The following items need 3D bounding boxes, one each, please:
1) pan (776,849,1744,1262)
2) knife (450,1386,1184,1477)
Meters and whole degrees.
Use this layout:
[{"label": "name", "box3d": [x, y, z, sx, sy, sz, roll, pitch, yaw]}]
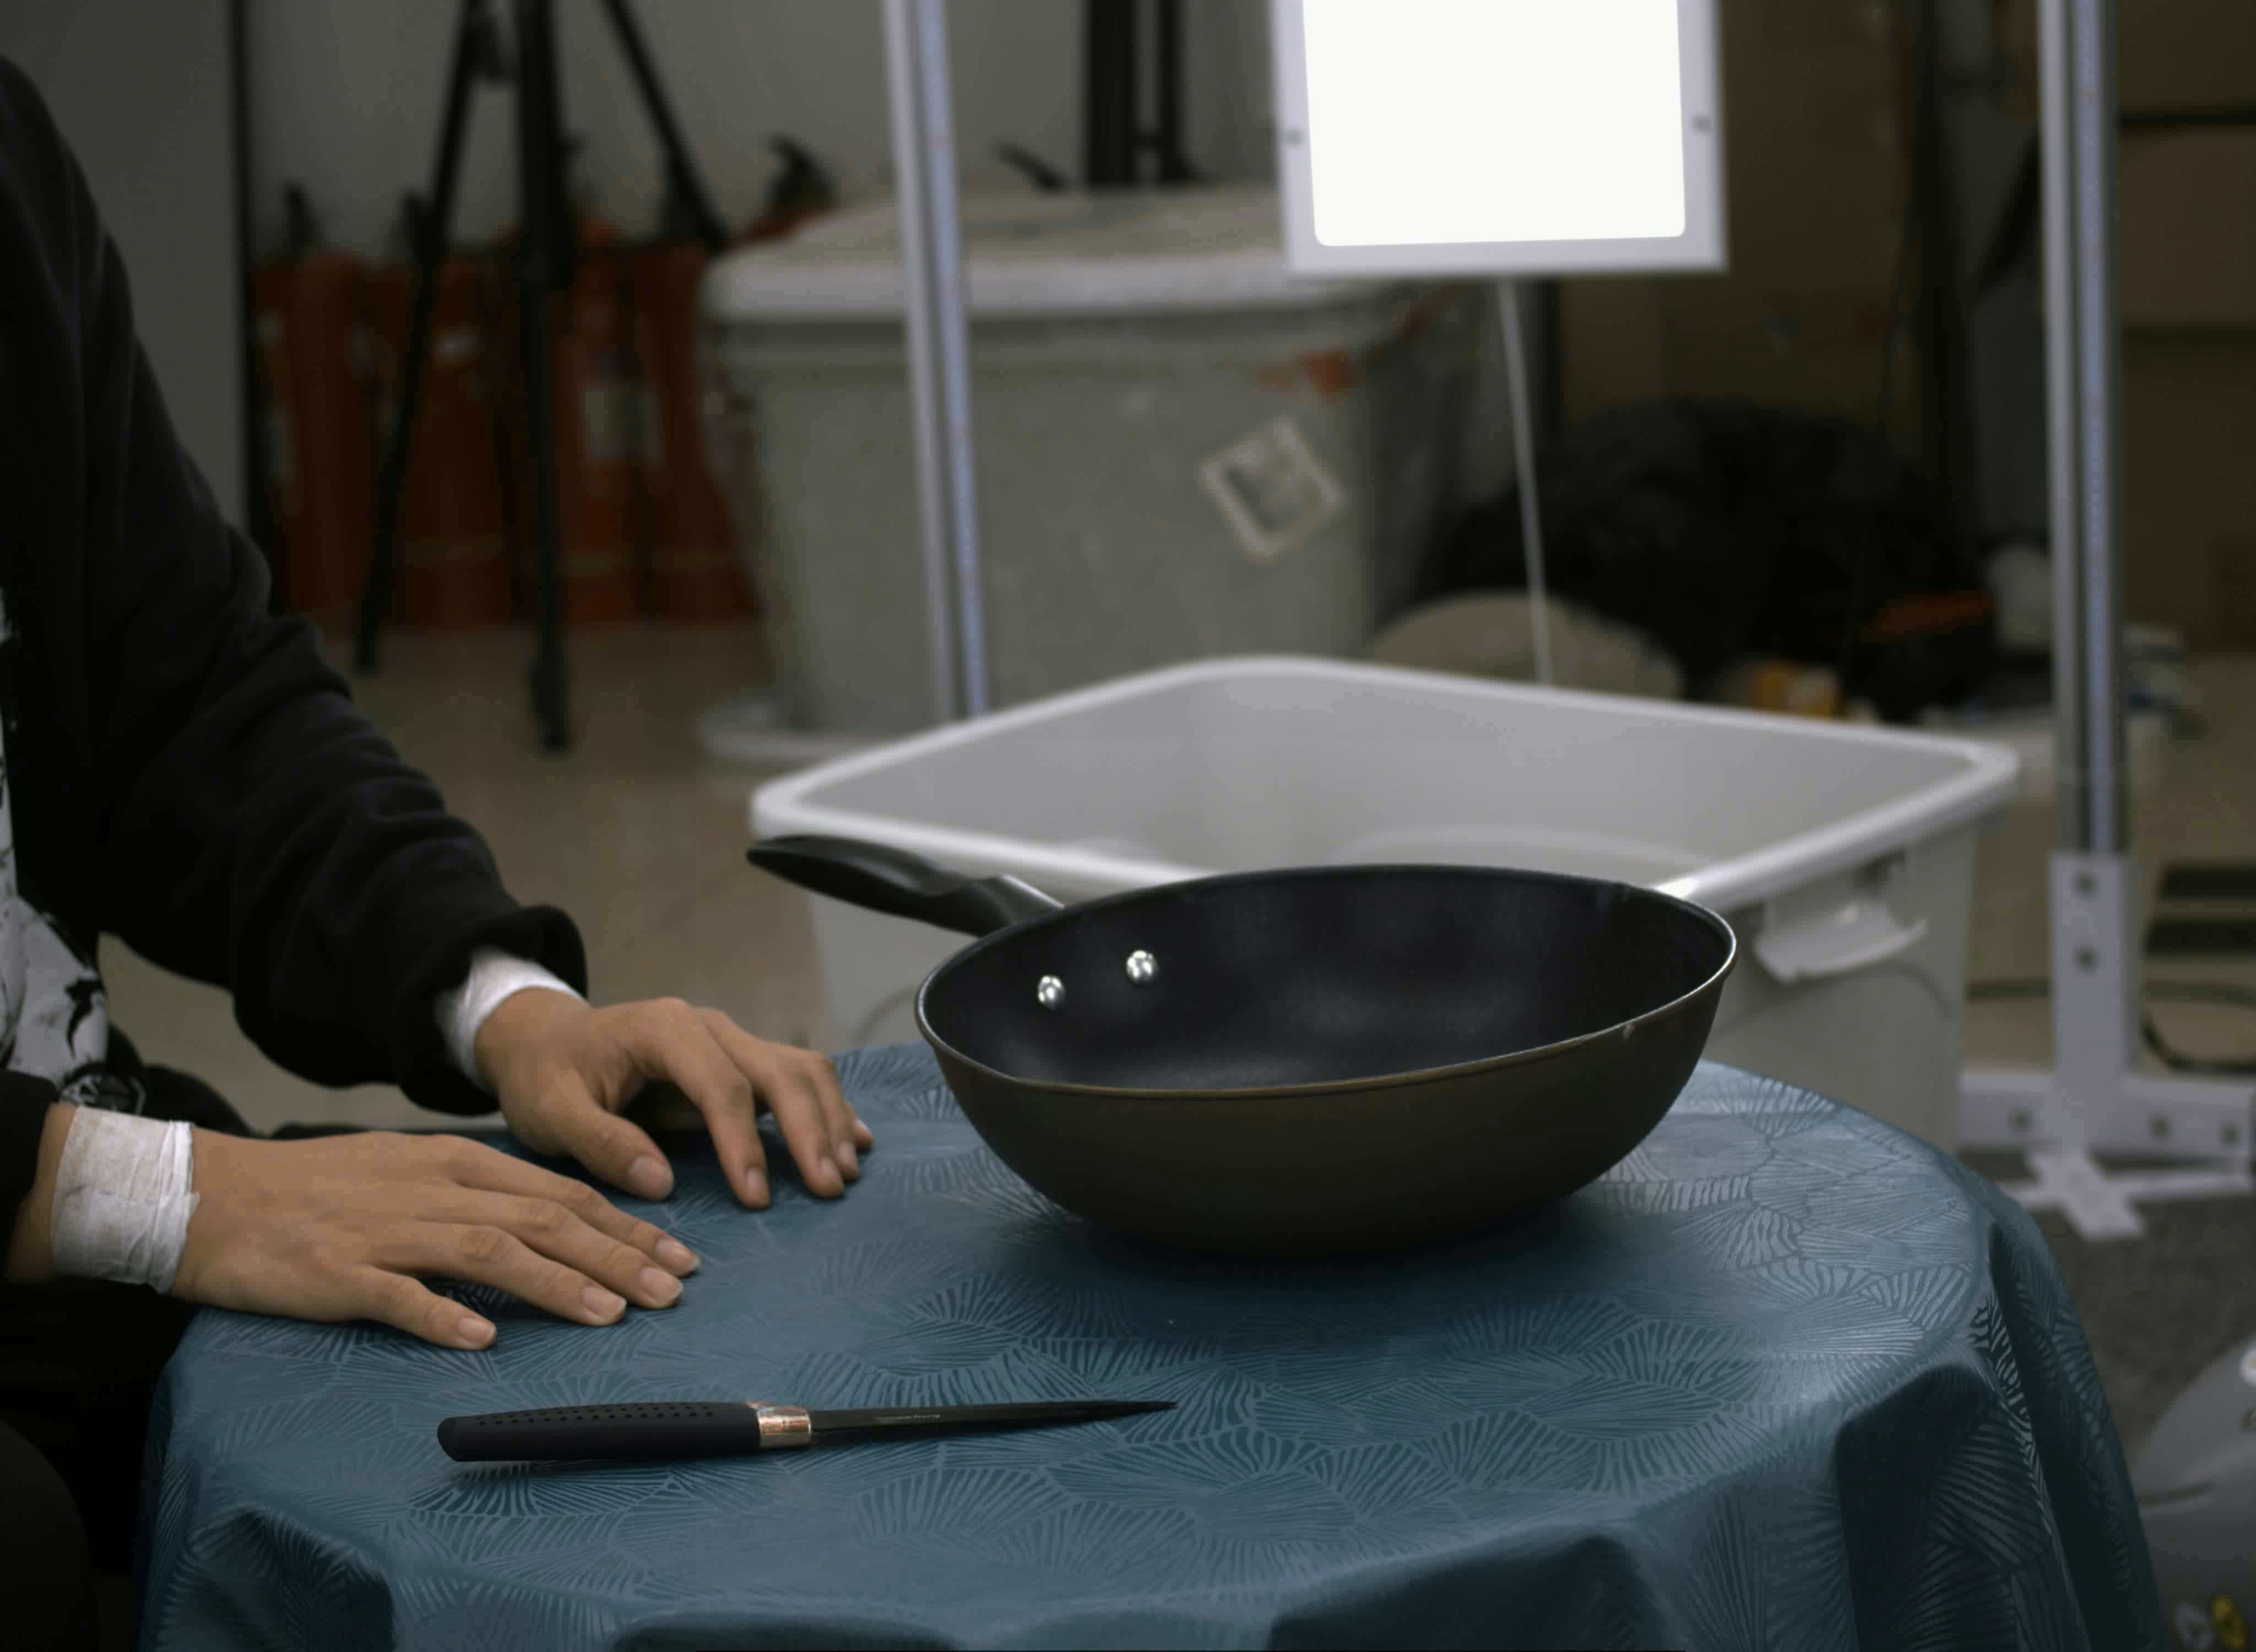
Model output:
[{"label": "pan", "box3d": [0.013, 0.075, 1.937, 0.281, 0.087, 0.473, -15, 16, -36]}, {"label": "knife", "box3d": [-0.094, 0.183, 1.687, 0.225, 0.017, 0.026, -4, 1, 0]}]
